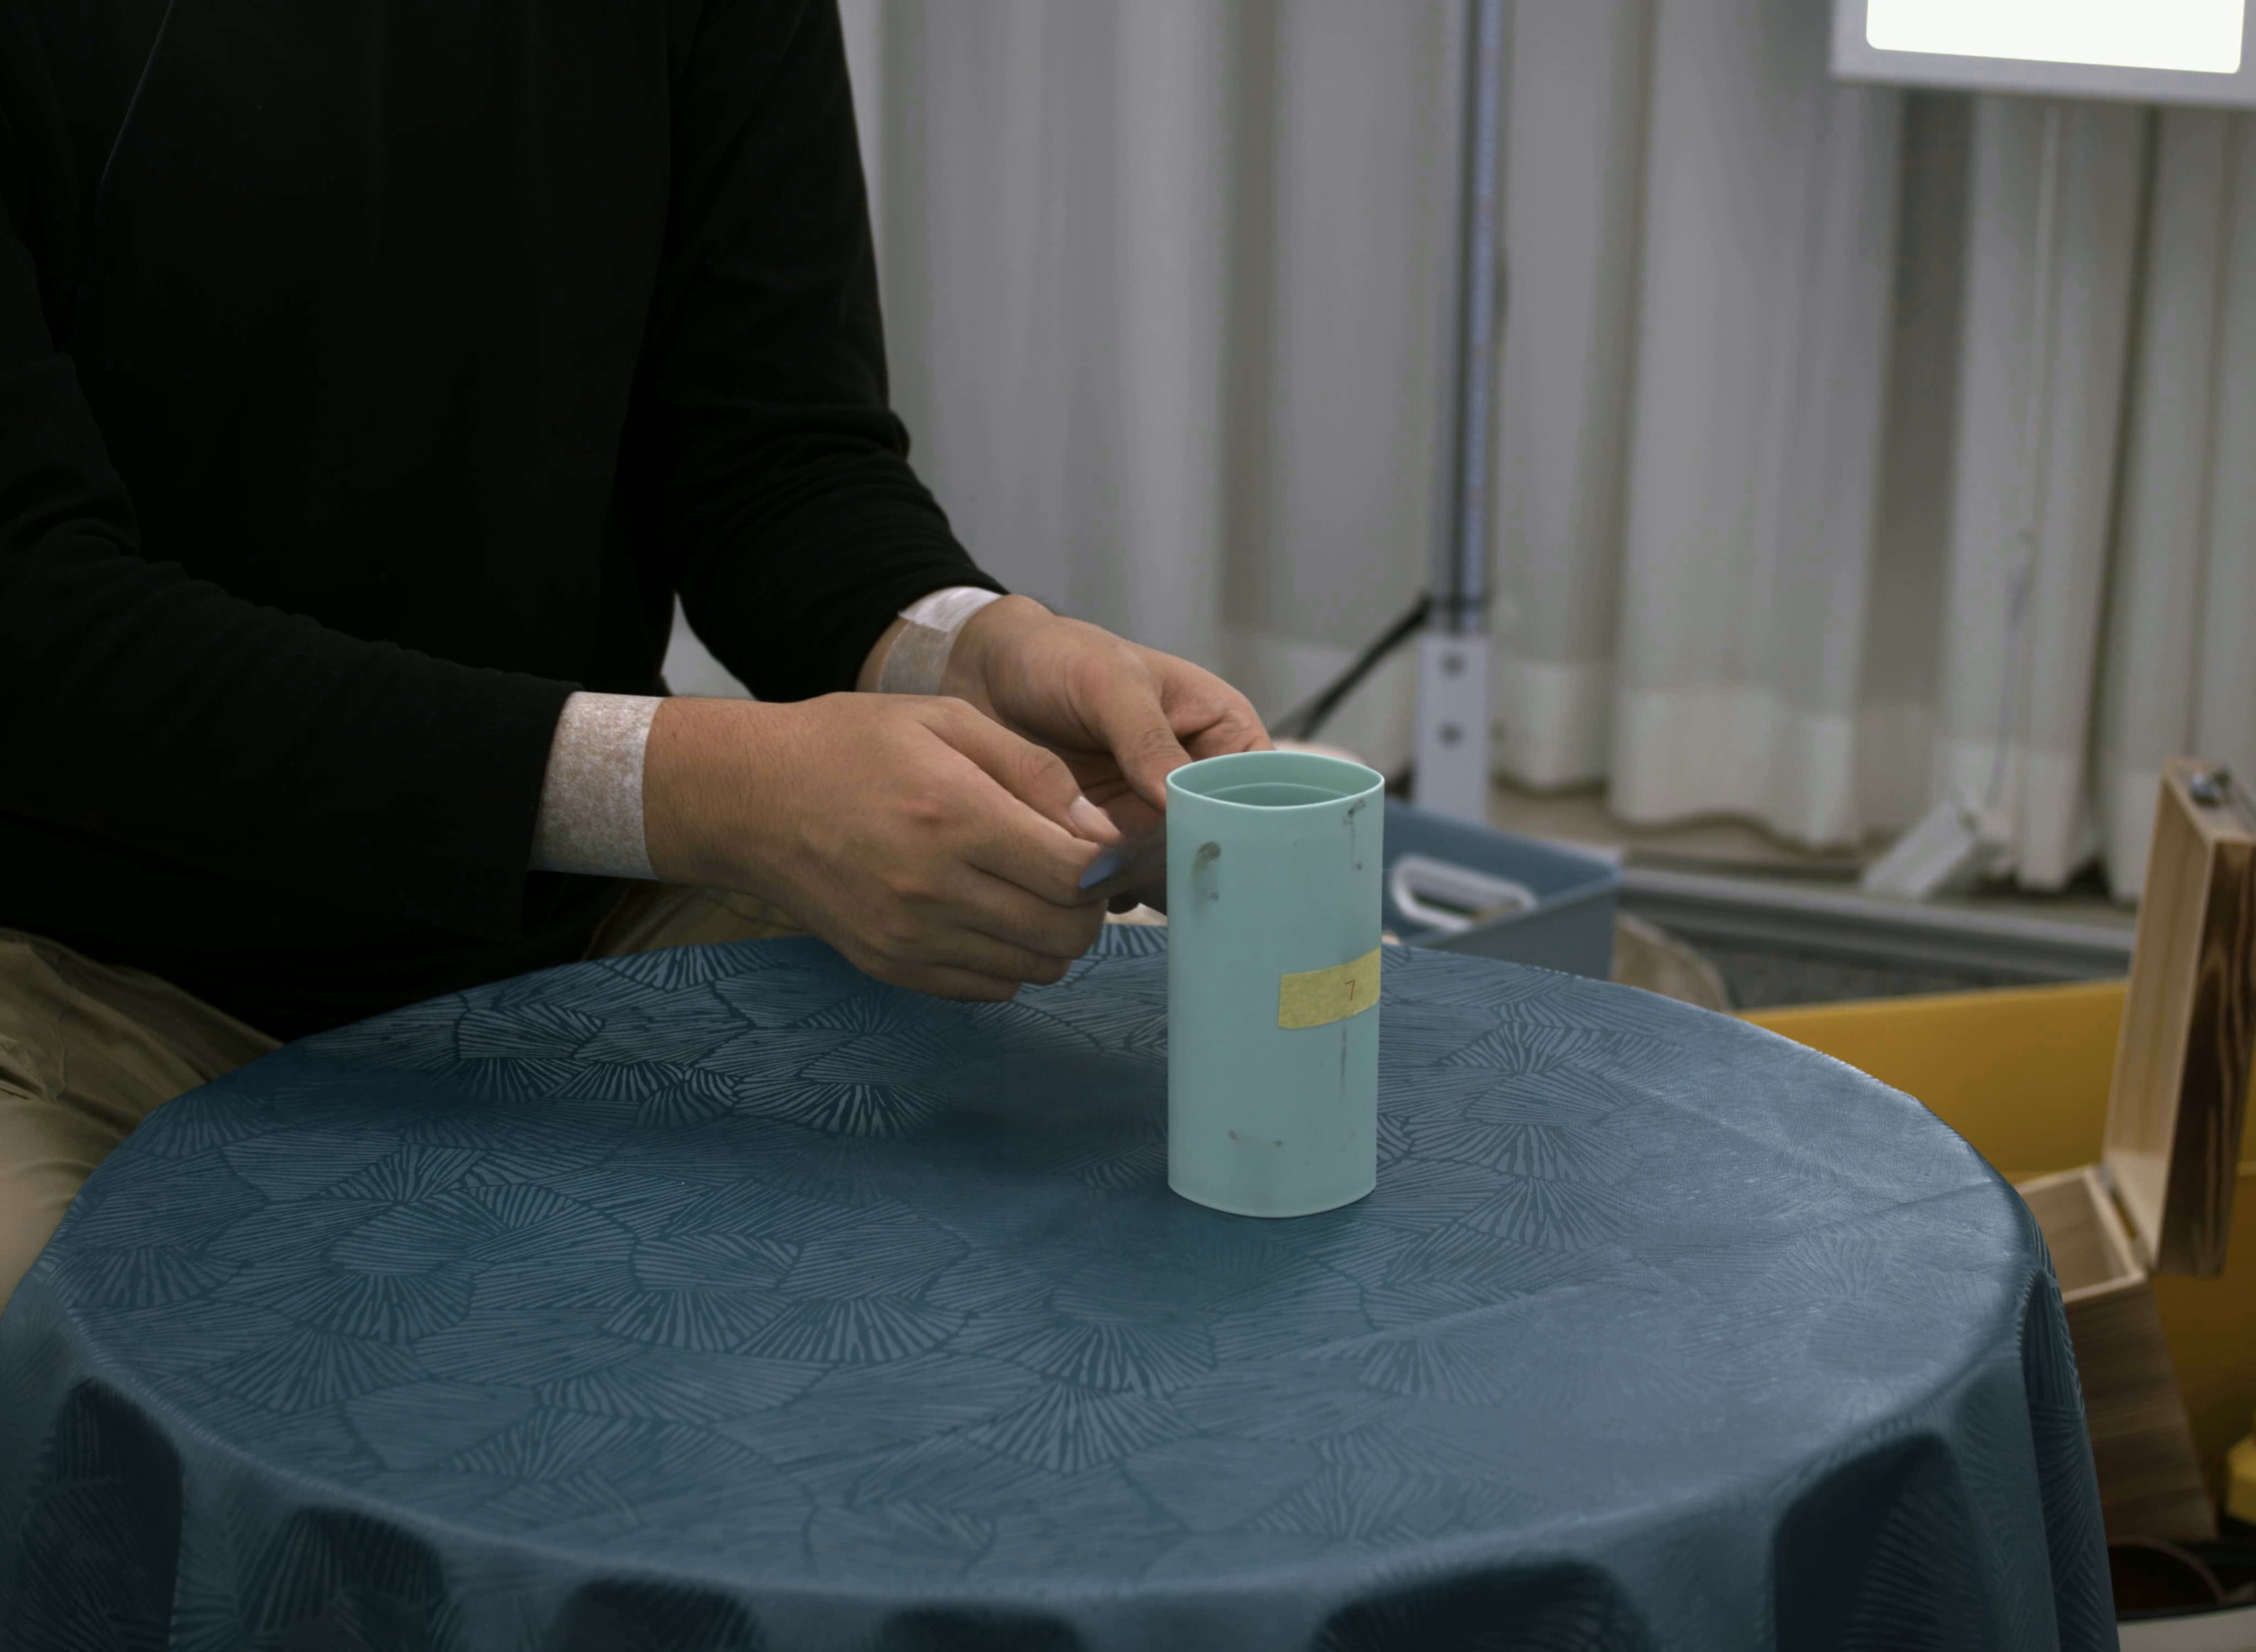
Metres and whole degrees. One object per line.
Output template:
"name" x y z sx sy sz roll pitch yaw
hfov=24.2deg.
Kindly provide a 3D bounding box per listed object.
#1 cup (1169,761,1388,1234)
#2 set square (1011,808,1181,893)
"cup" 0.044 0.051 1.611 0.066 0.133 0.066 0 17 0
"set square" -0.007 0.004 1.651 0.060 0.006 0.132 9 16 38
